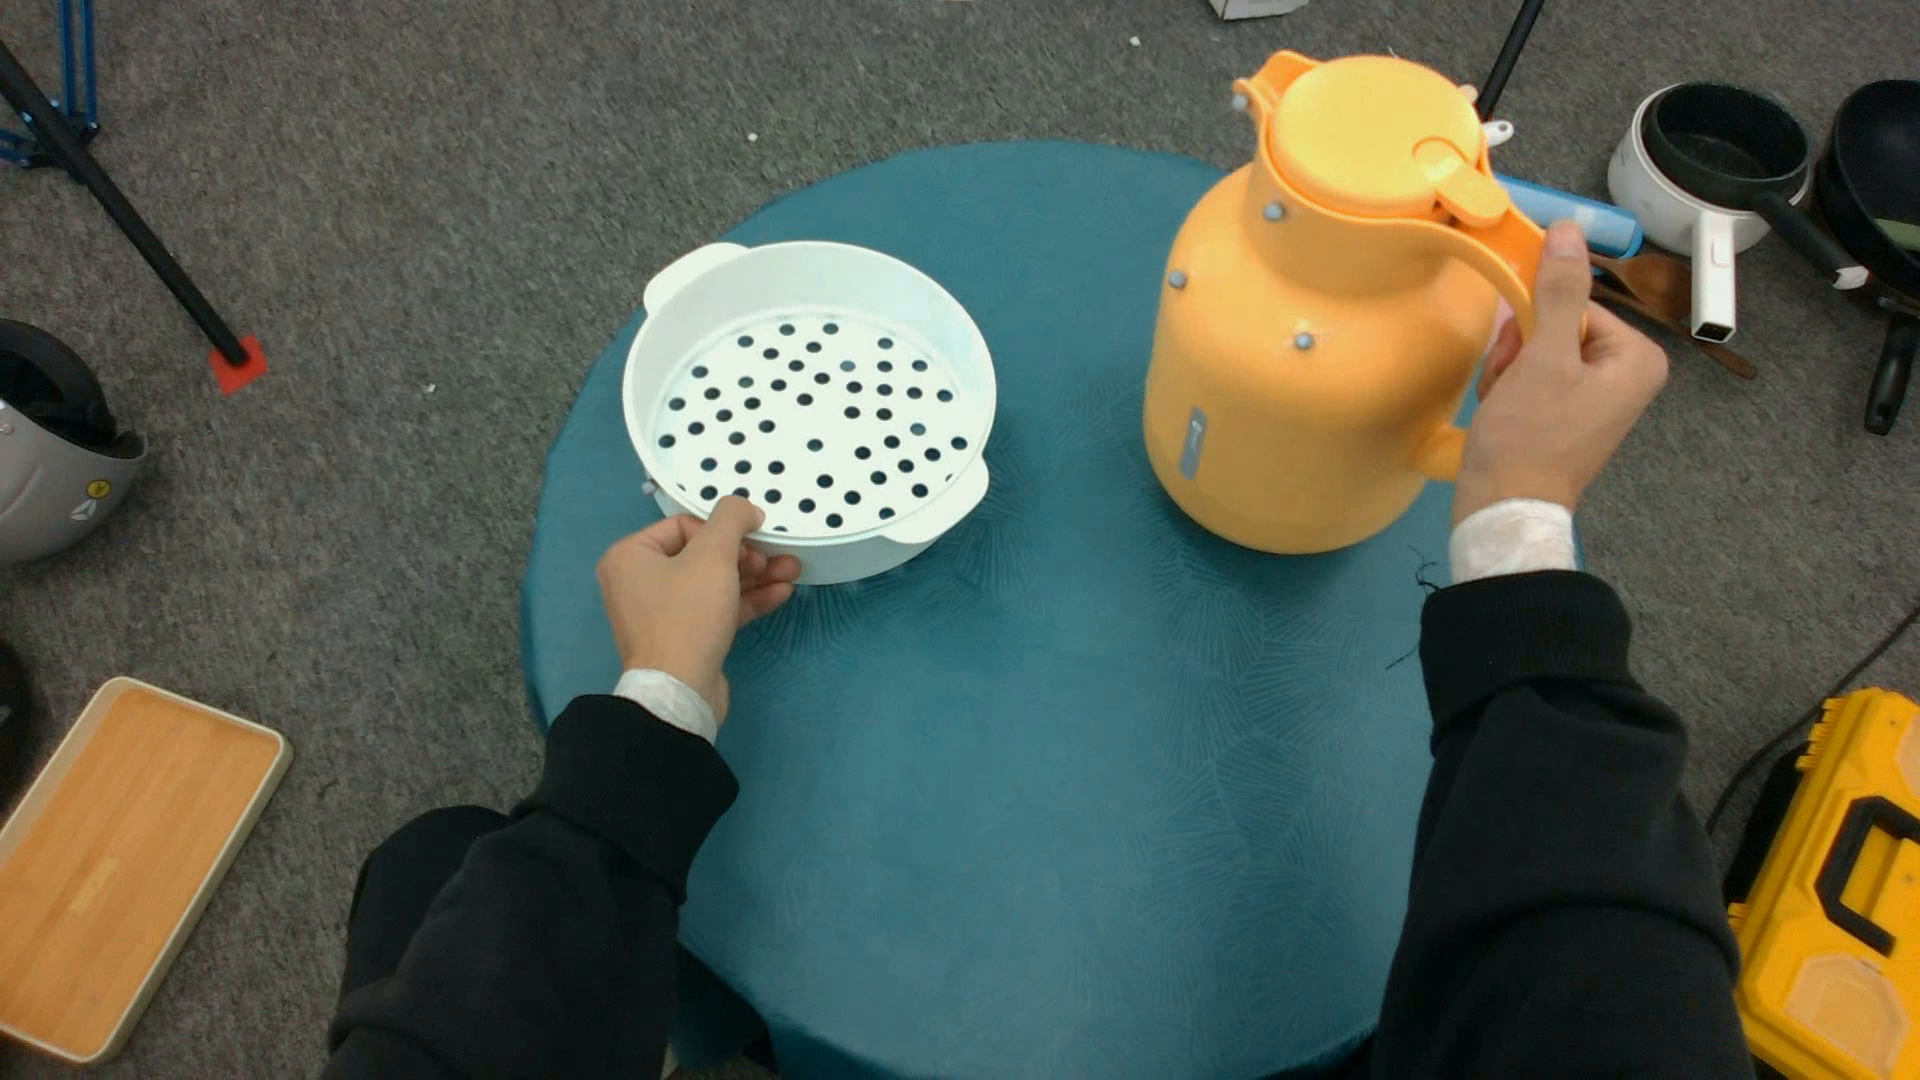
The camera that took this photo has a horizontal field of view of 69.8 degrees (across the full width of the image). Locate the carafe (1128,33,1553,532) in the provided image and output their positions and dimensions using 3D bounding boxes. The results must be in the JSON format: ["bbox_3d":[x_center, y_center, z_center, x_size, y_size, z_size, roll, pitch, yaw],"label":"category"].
[{"bbox_3d":[0.183,-0.113,0.689,0.164,0.259,0.202,-38,64,-16],"label":"carafe"}]

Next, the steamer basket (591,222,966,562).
[{"bbox_3d":[-0.098,-0.082,0.768,0.231,0.069,0.202,41,65,19],"label":"steamer basket"}]
